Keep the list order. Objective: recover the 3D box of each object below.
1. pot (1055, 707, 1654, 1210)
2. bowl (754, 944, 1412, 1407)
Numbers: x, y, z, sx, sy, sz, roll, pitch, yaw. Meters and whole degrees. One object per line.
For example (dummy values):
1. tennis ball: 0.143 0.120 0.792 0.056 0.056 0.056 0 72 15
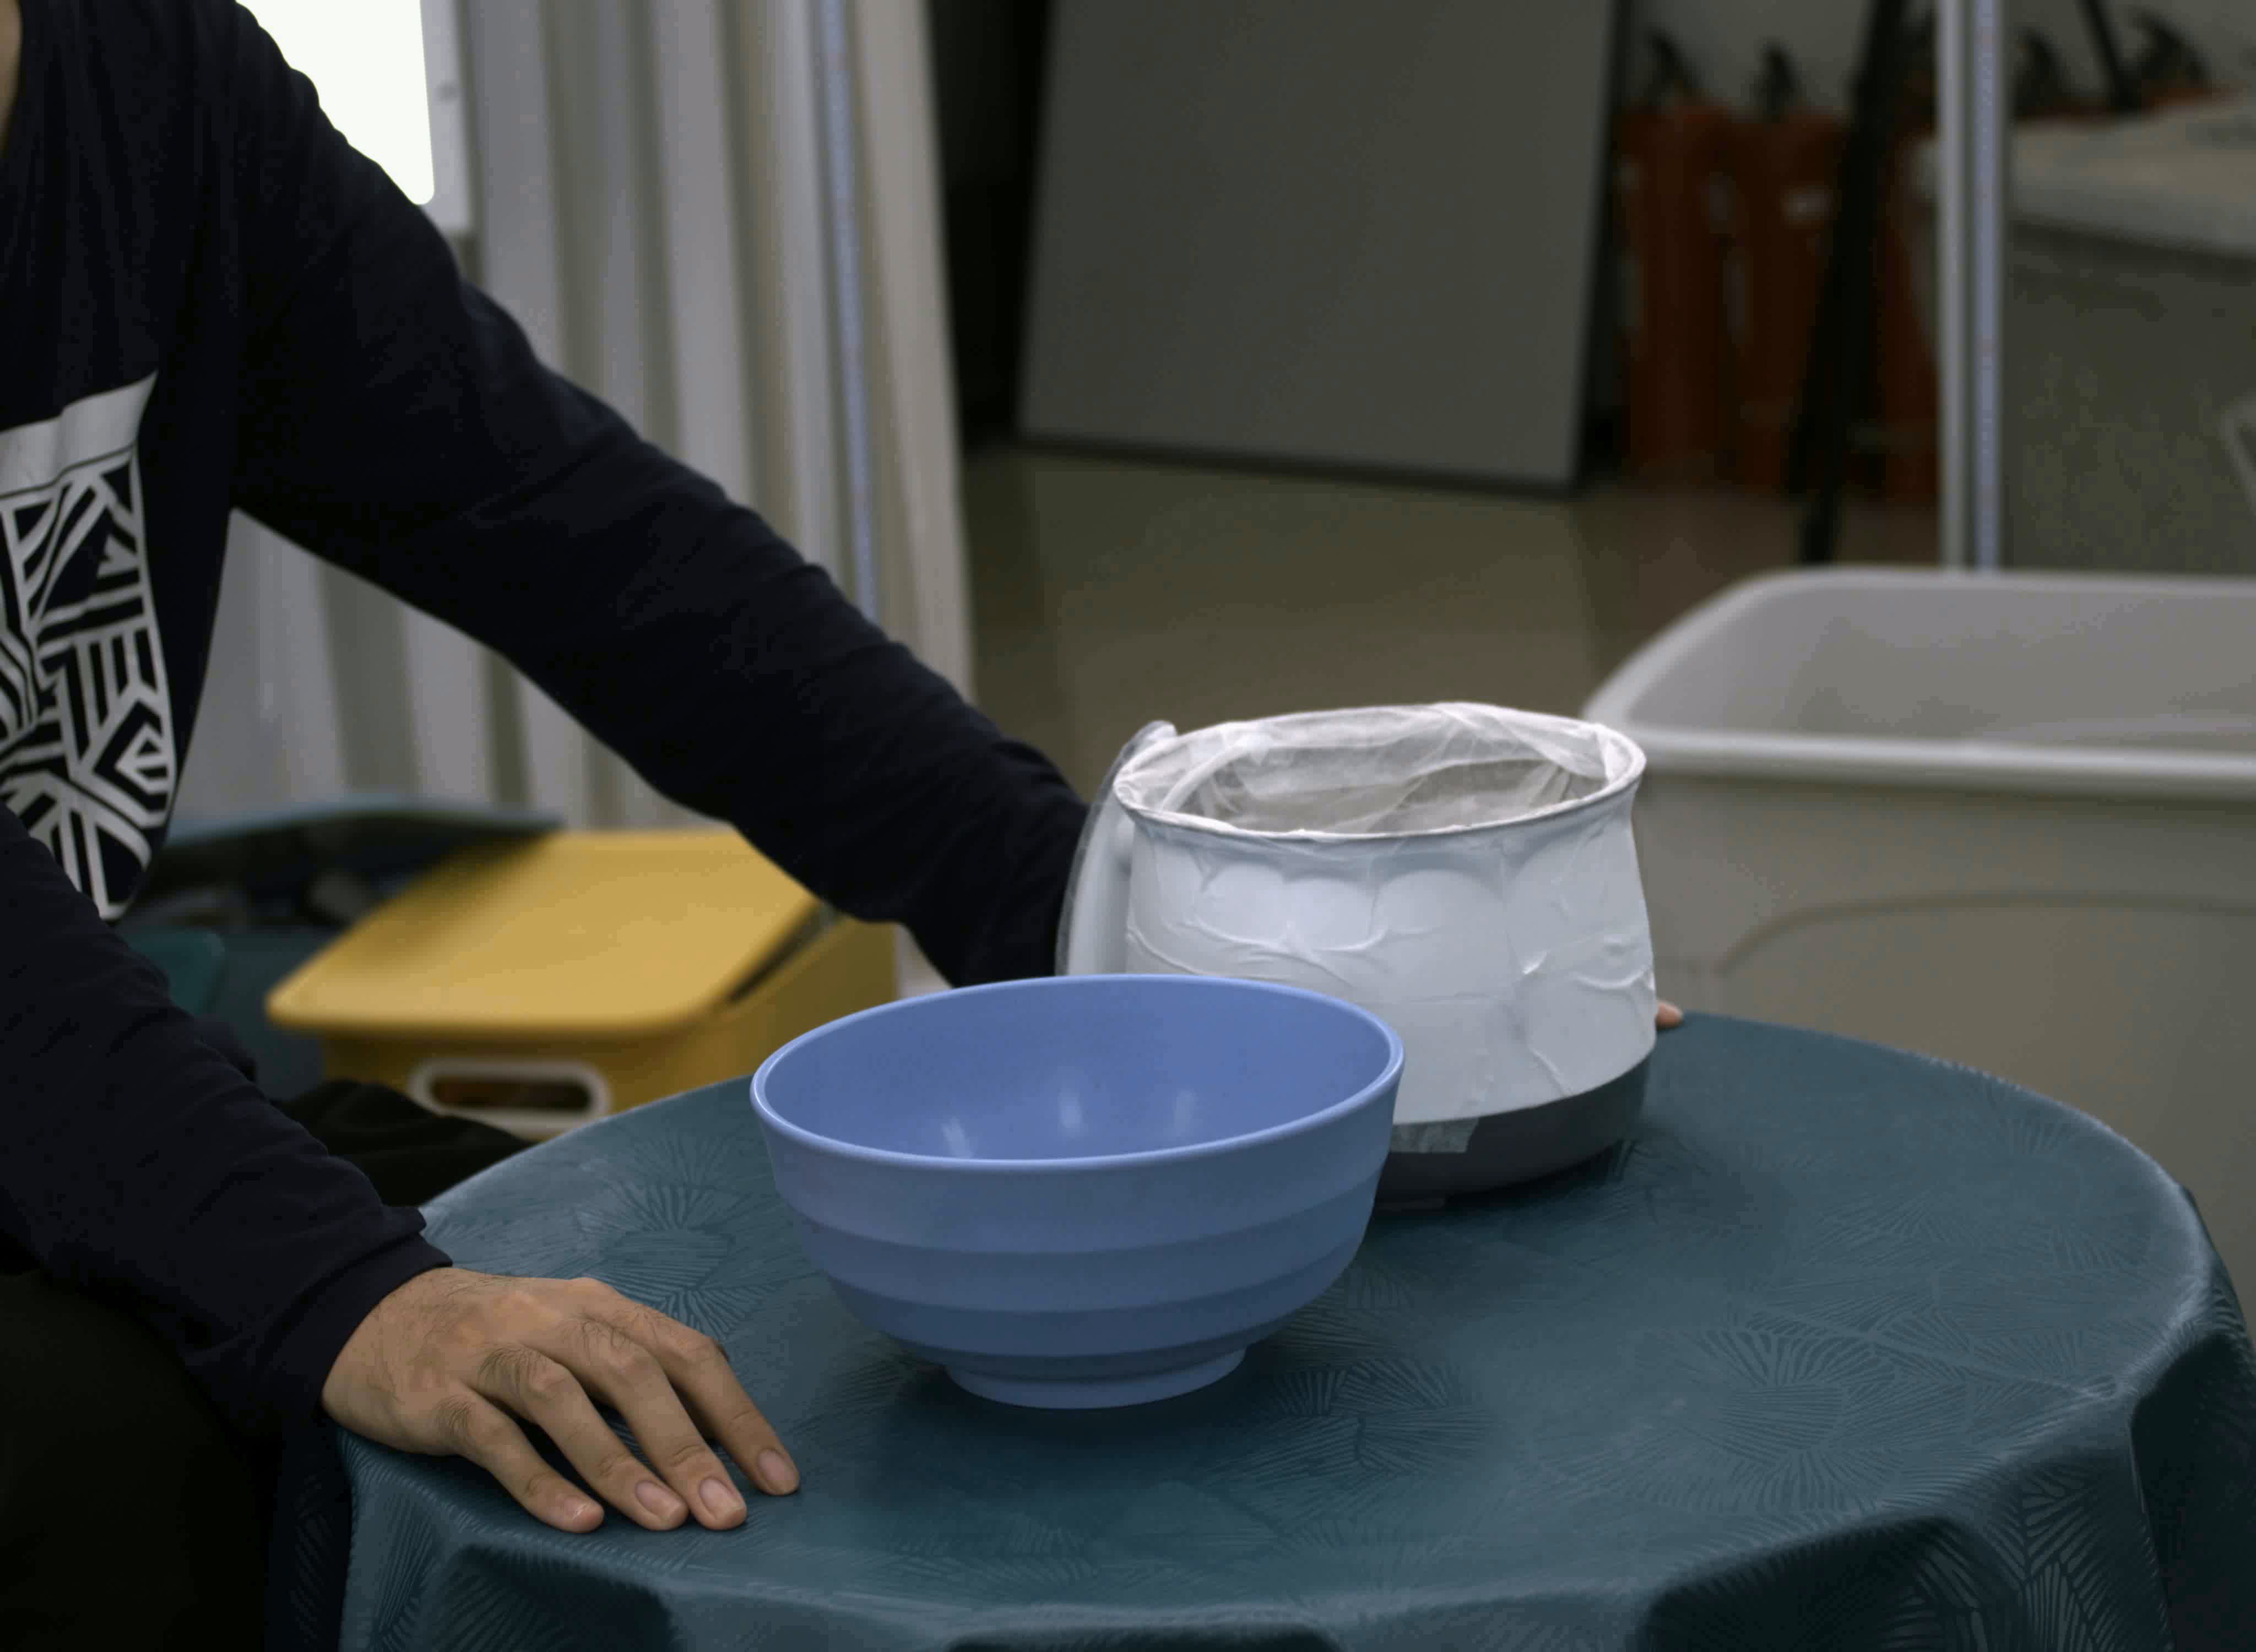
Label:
1. pot: 0.066 0.038 1.803 0.236 0.138 0.175 9 16 41
2. bowl: -0.012 0.111 1.604 0.194 0.096 0.197 -3 18 0
